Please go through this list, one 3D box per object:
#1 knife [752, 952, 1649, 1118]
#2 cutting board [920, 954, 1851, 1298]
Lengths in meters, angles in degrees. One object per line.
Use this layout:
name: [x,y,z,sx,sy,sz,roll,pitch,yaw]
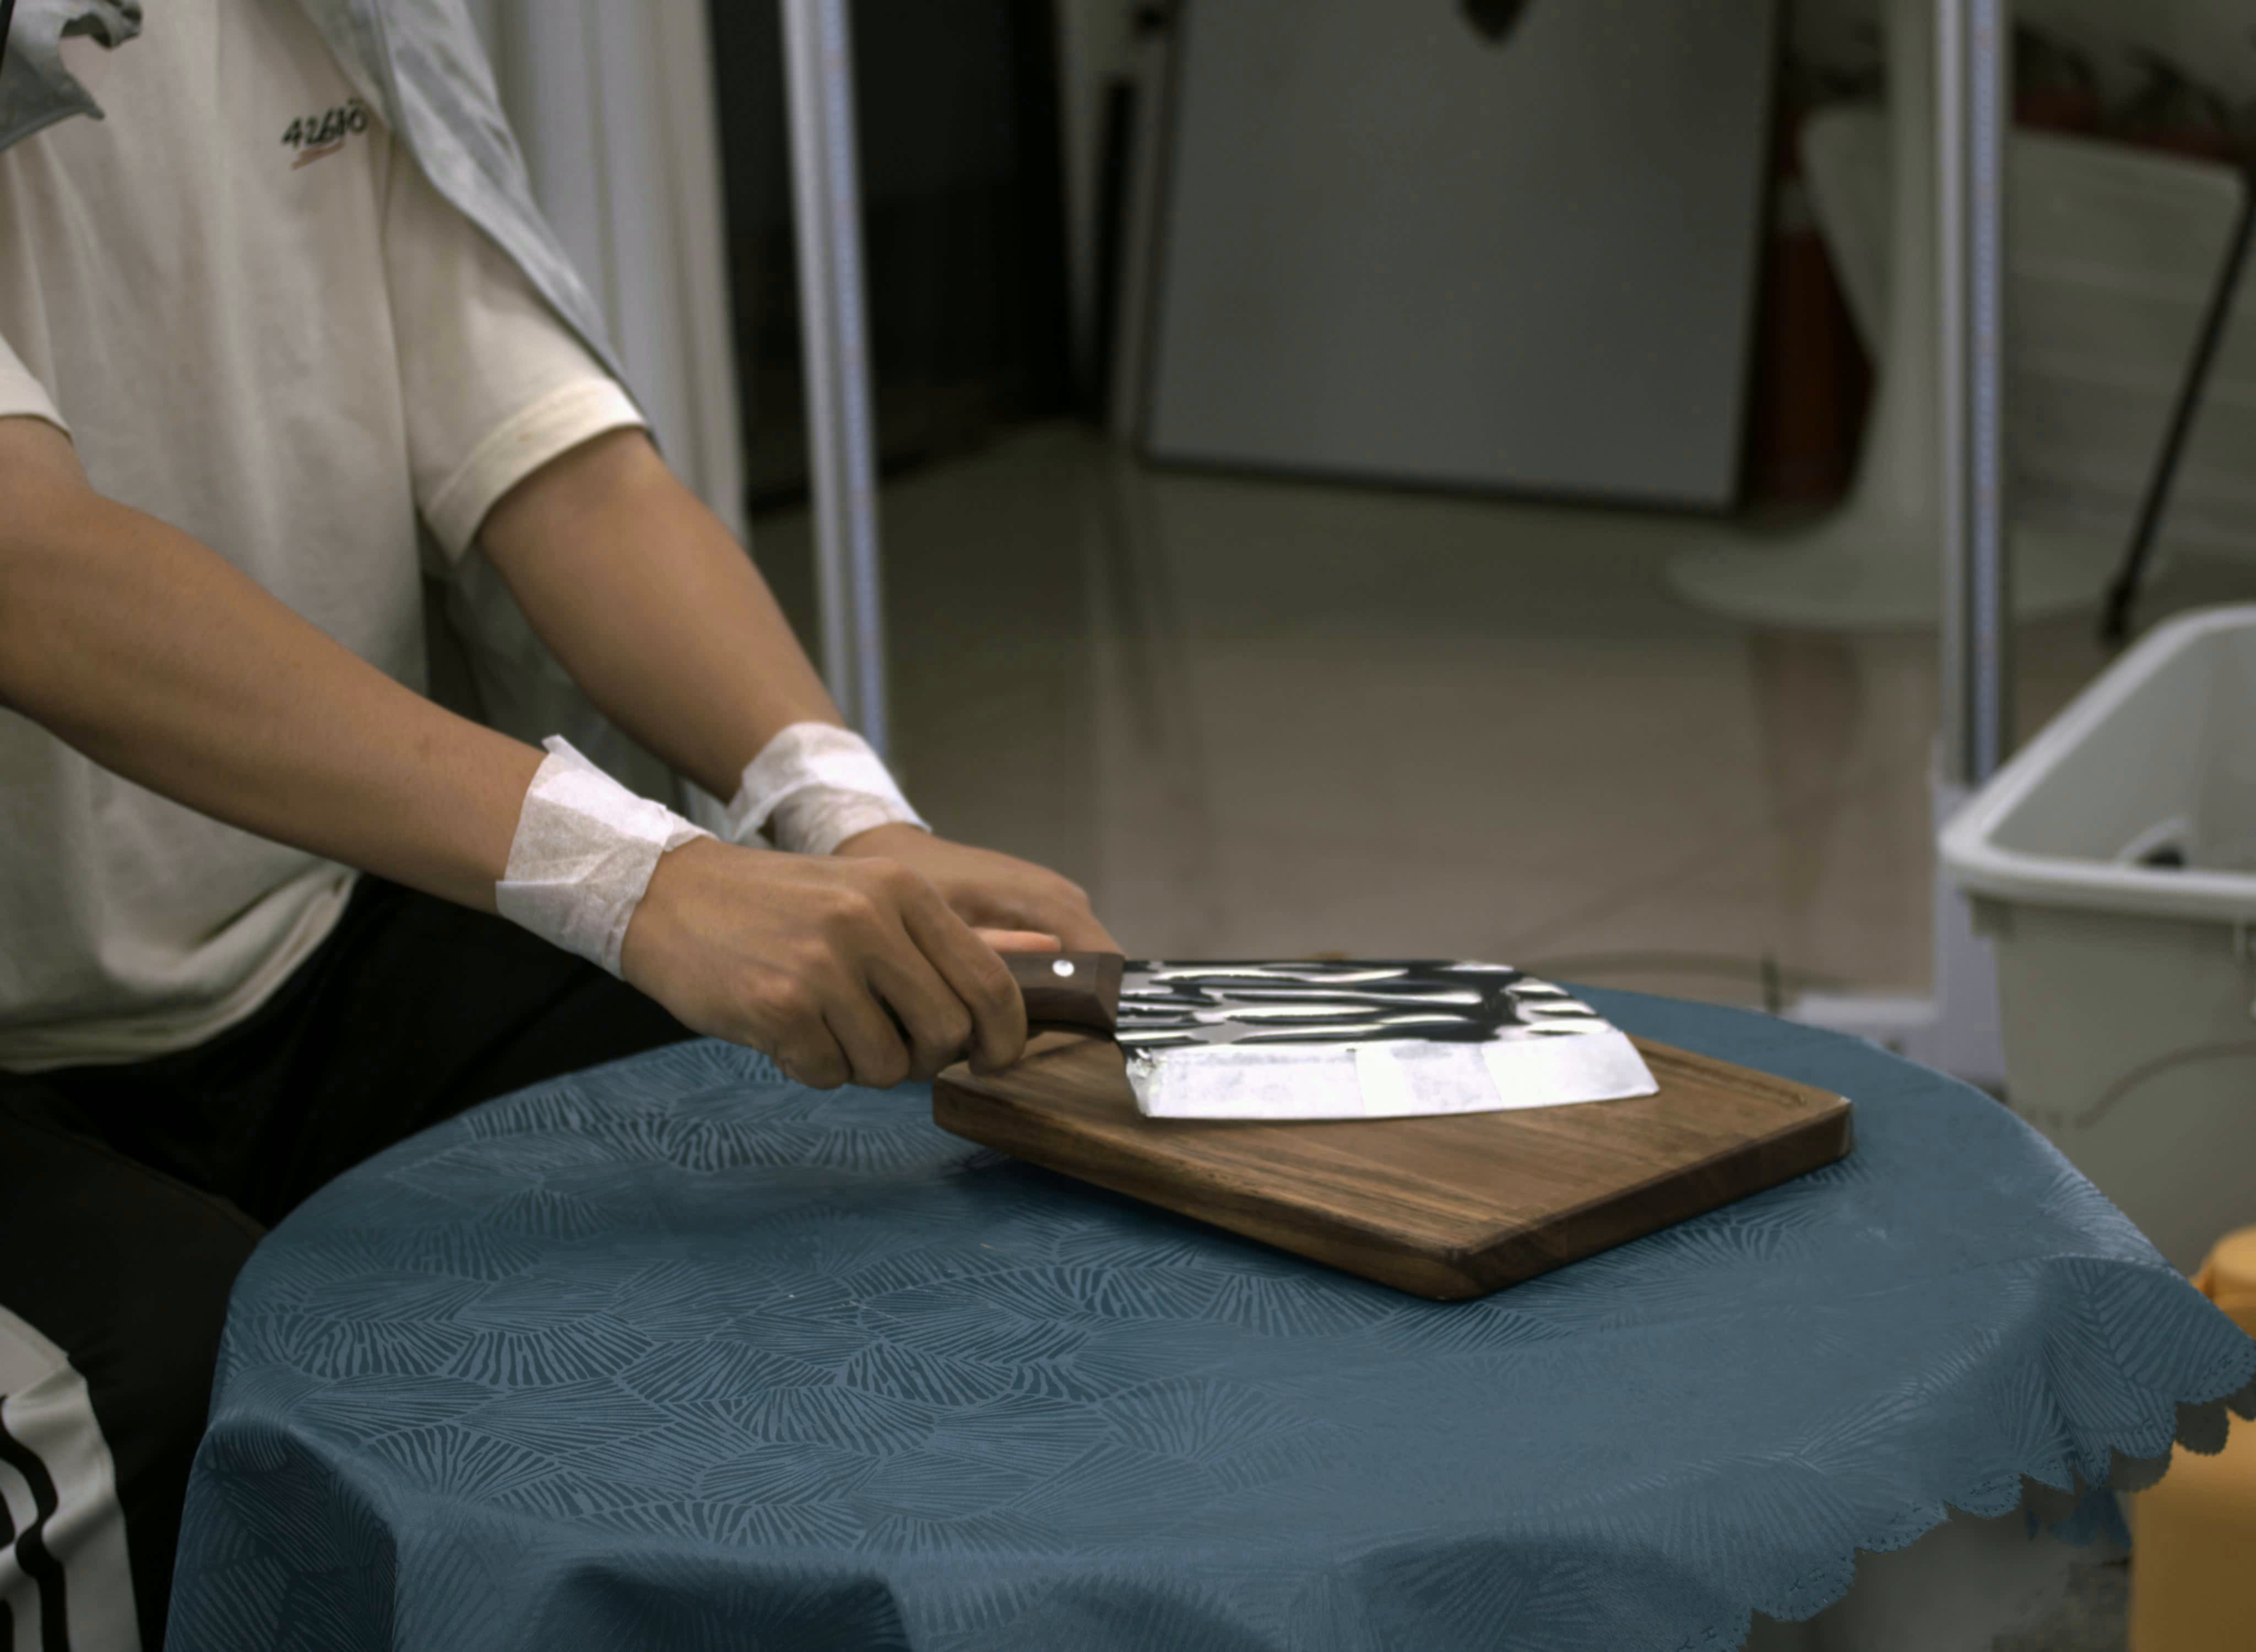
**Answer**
knife: [0.024,0.070,1.780,0.295,0.024,0.069,1,48,-4]
cutting board: [0.053,0.087,1.822,0.197,0.023,0.355,-16,20,-40]
